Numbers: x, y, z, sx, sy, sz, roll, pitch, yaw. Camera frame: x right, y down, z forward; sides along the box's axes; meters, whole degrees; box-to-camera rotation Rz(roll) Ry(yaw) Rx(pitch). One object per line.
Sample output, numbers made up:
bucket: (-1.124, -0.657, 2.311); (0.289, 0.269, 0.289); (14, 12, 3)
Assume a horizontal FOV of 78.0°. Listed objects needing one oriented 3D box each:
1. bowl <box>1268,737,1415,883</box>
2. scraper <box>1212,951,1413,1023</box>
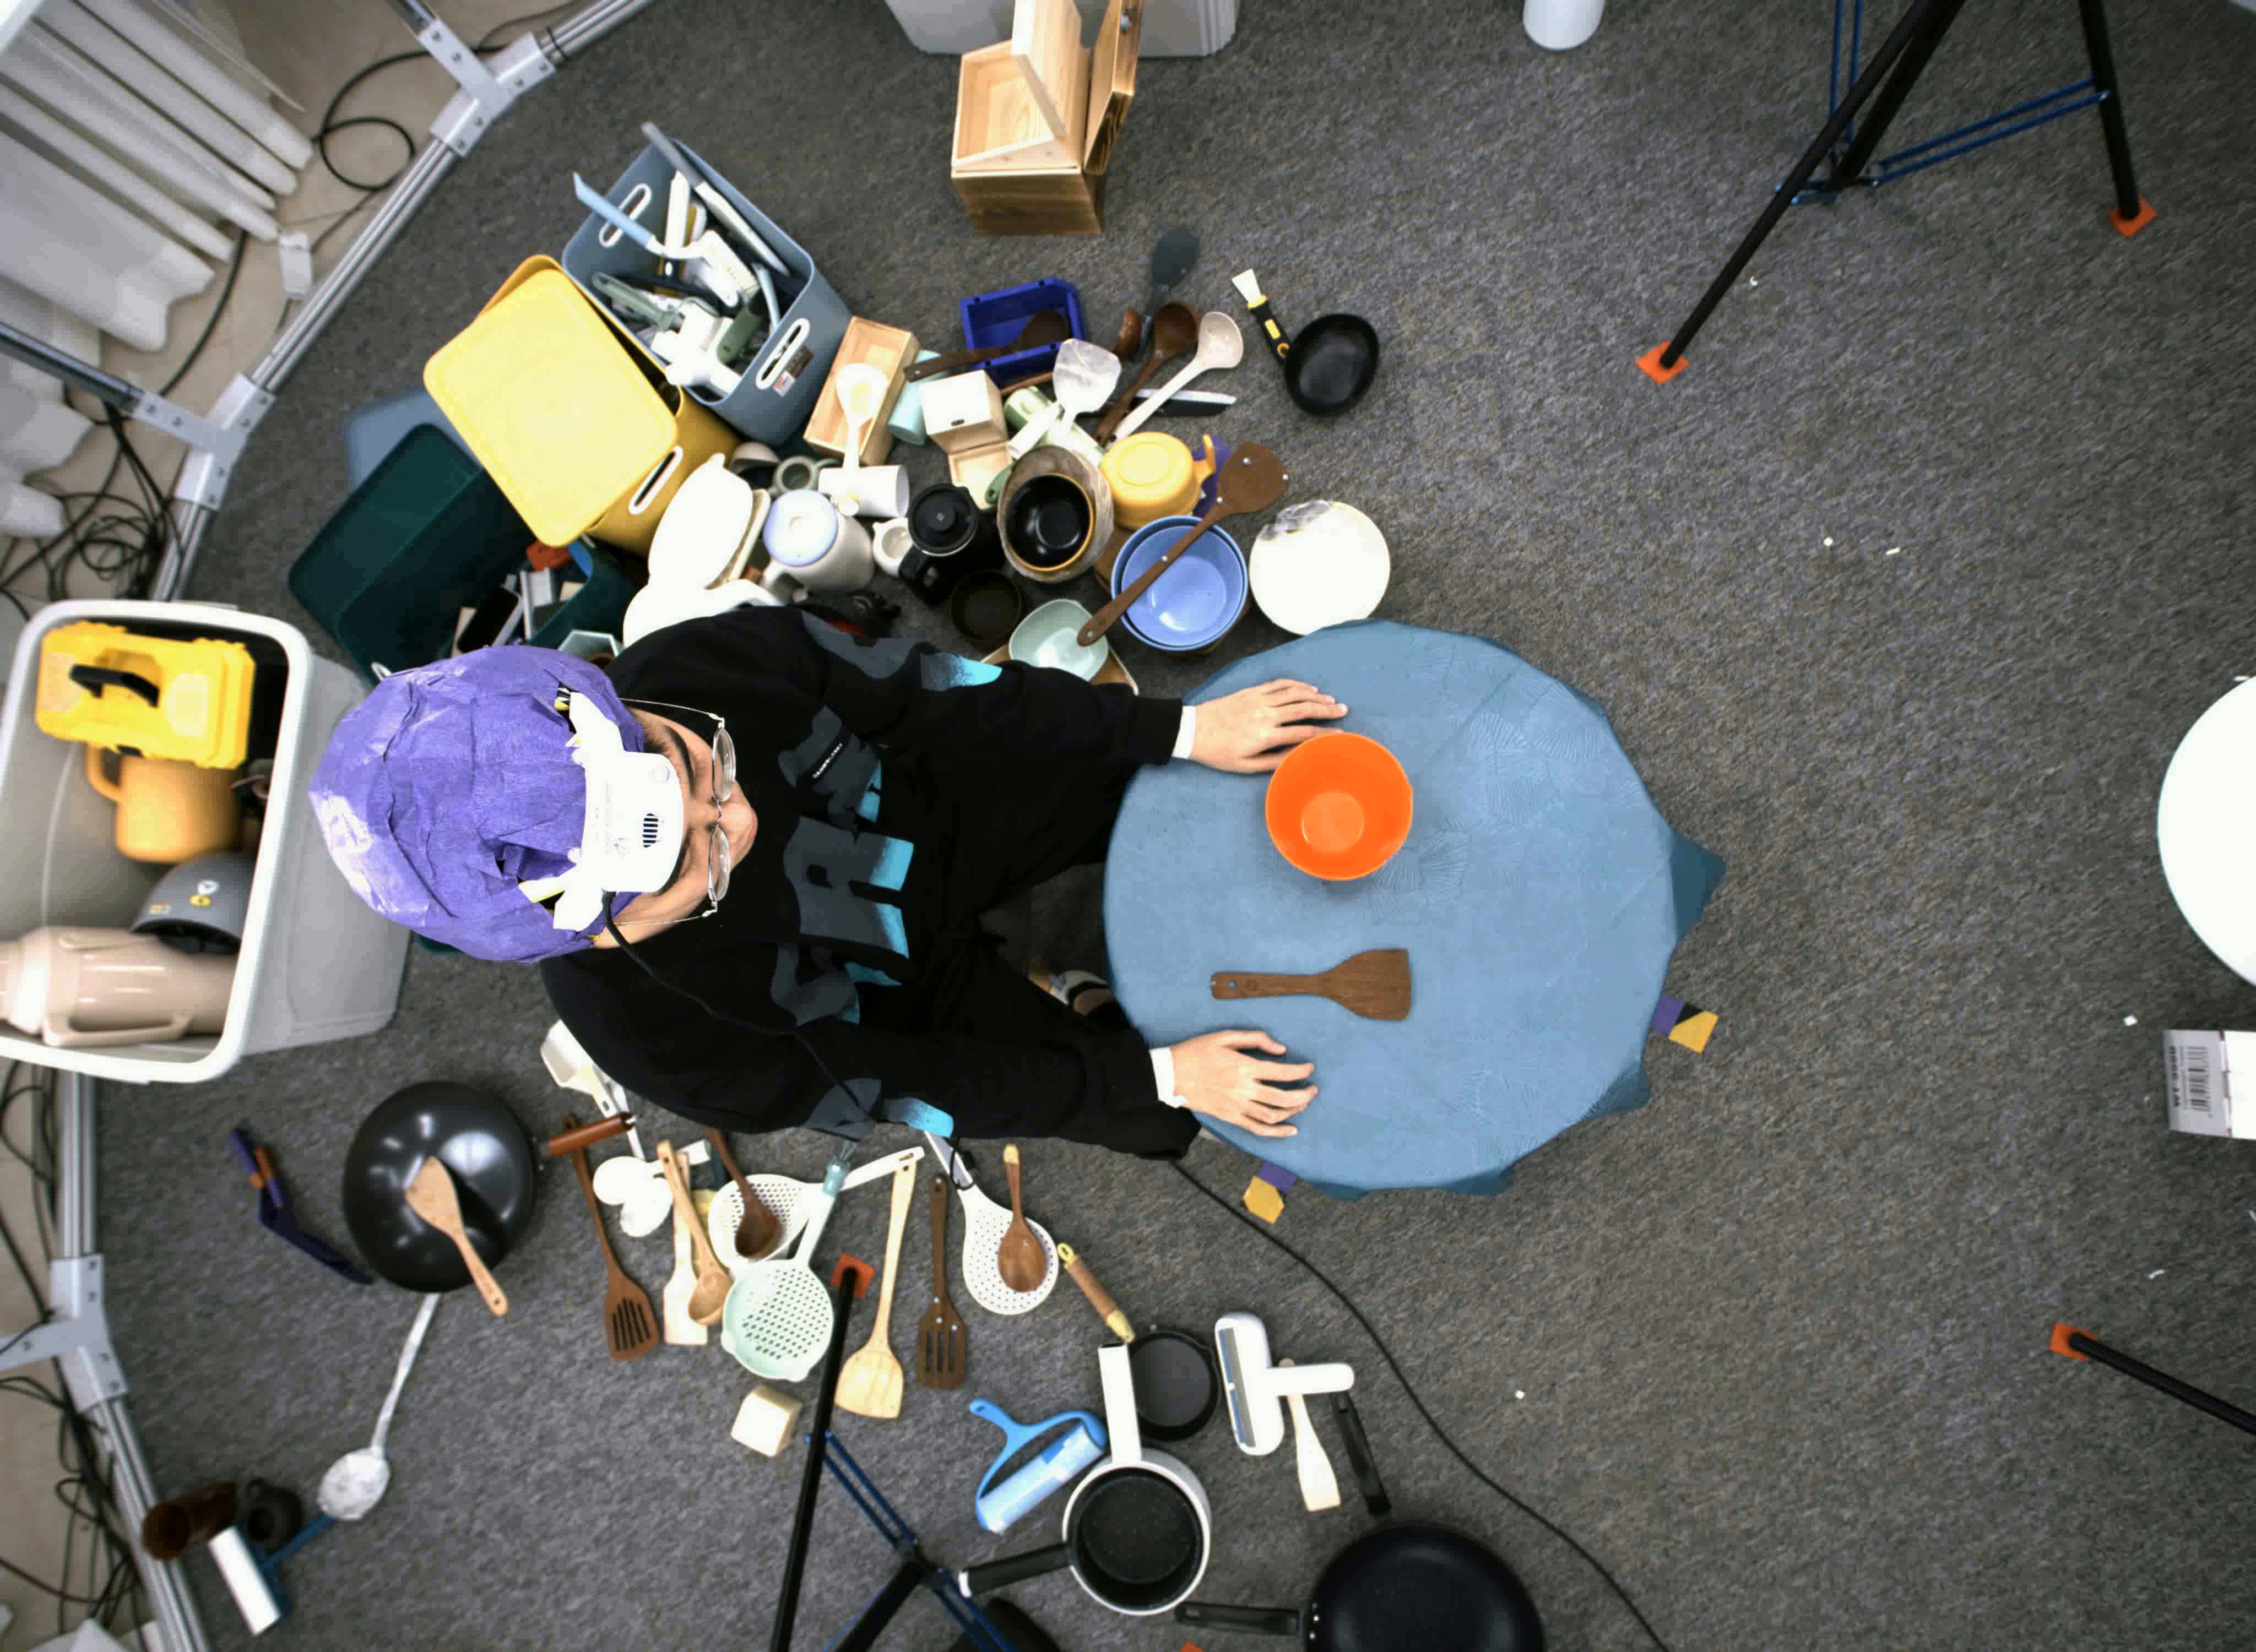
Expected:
bowl: (0.221, -0.013, 1.429); (0.148, 0.104, 0.147); (-1, 87, 10)
scraper: (0.194, 0.170, 1.468); (0.212, 0.011, 0.075); (-2, 85, 11)
